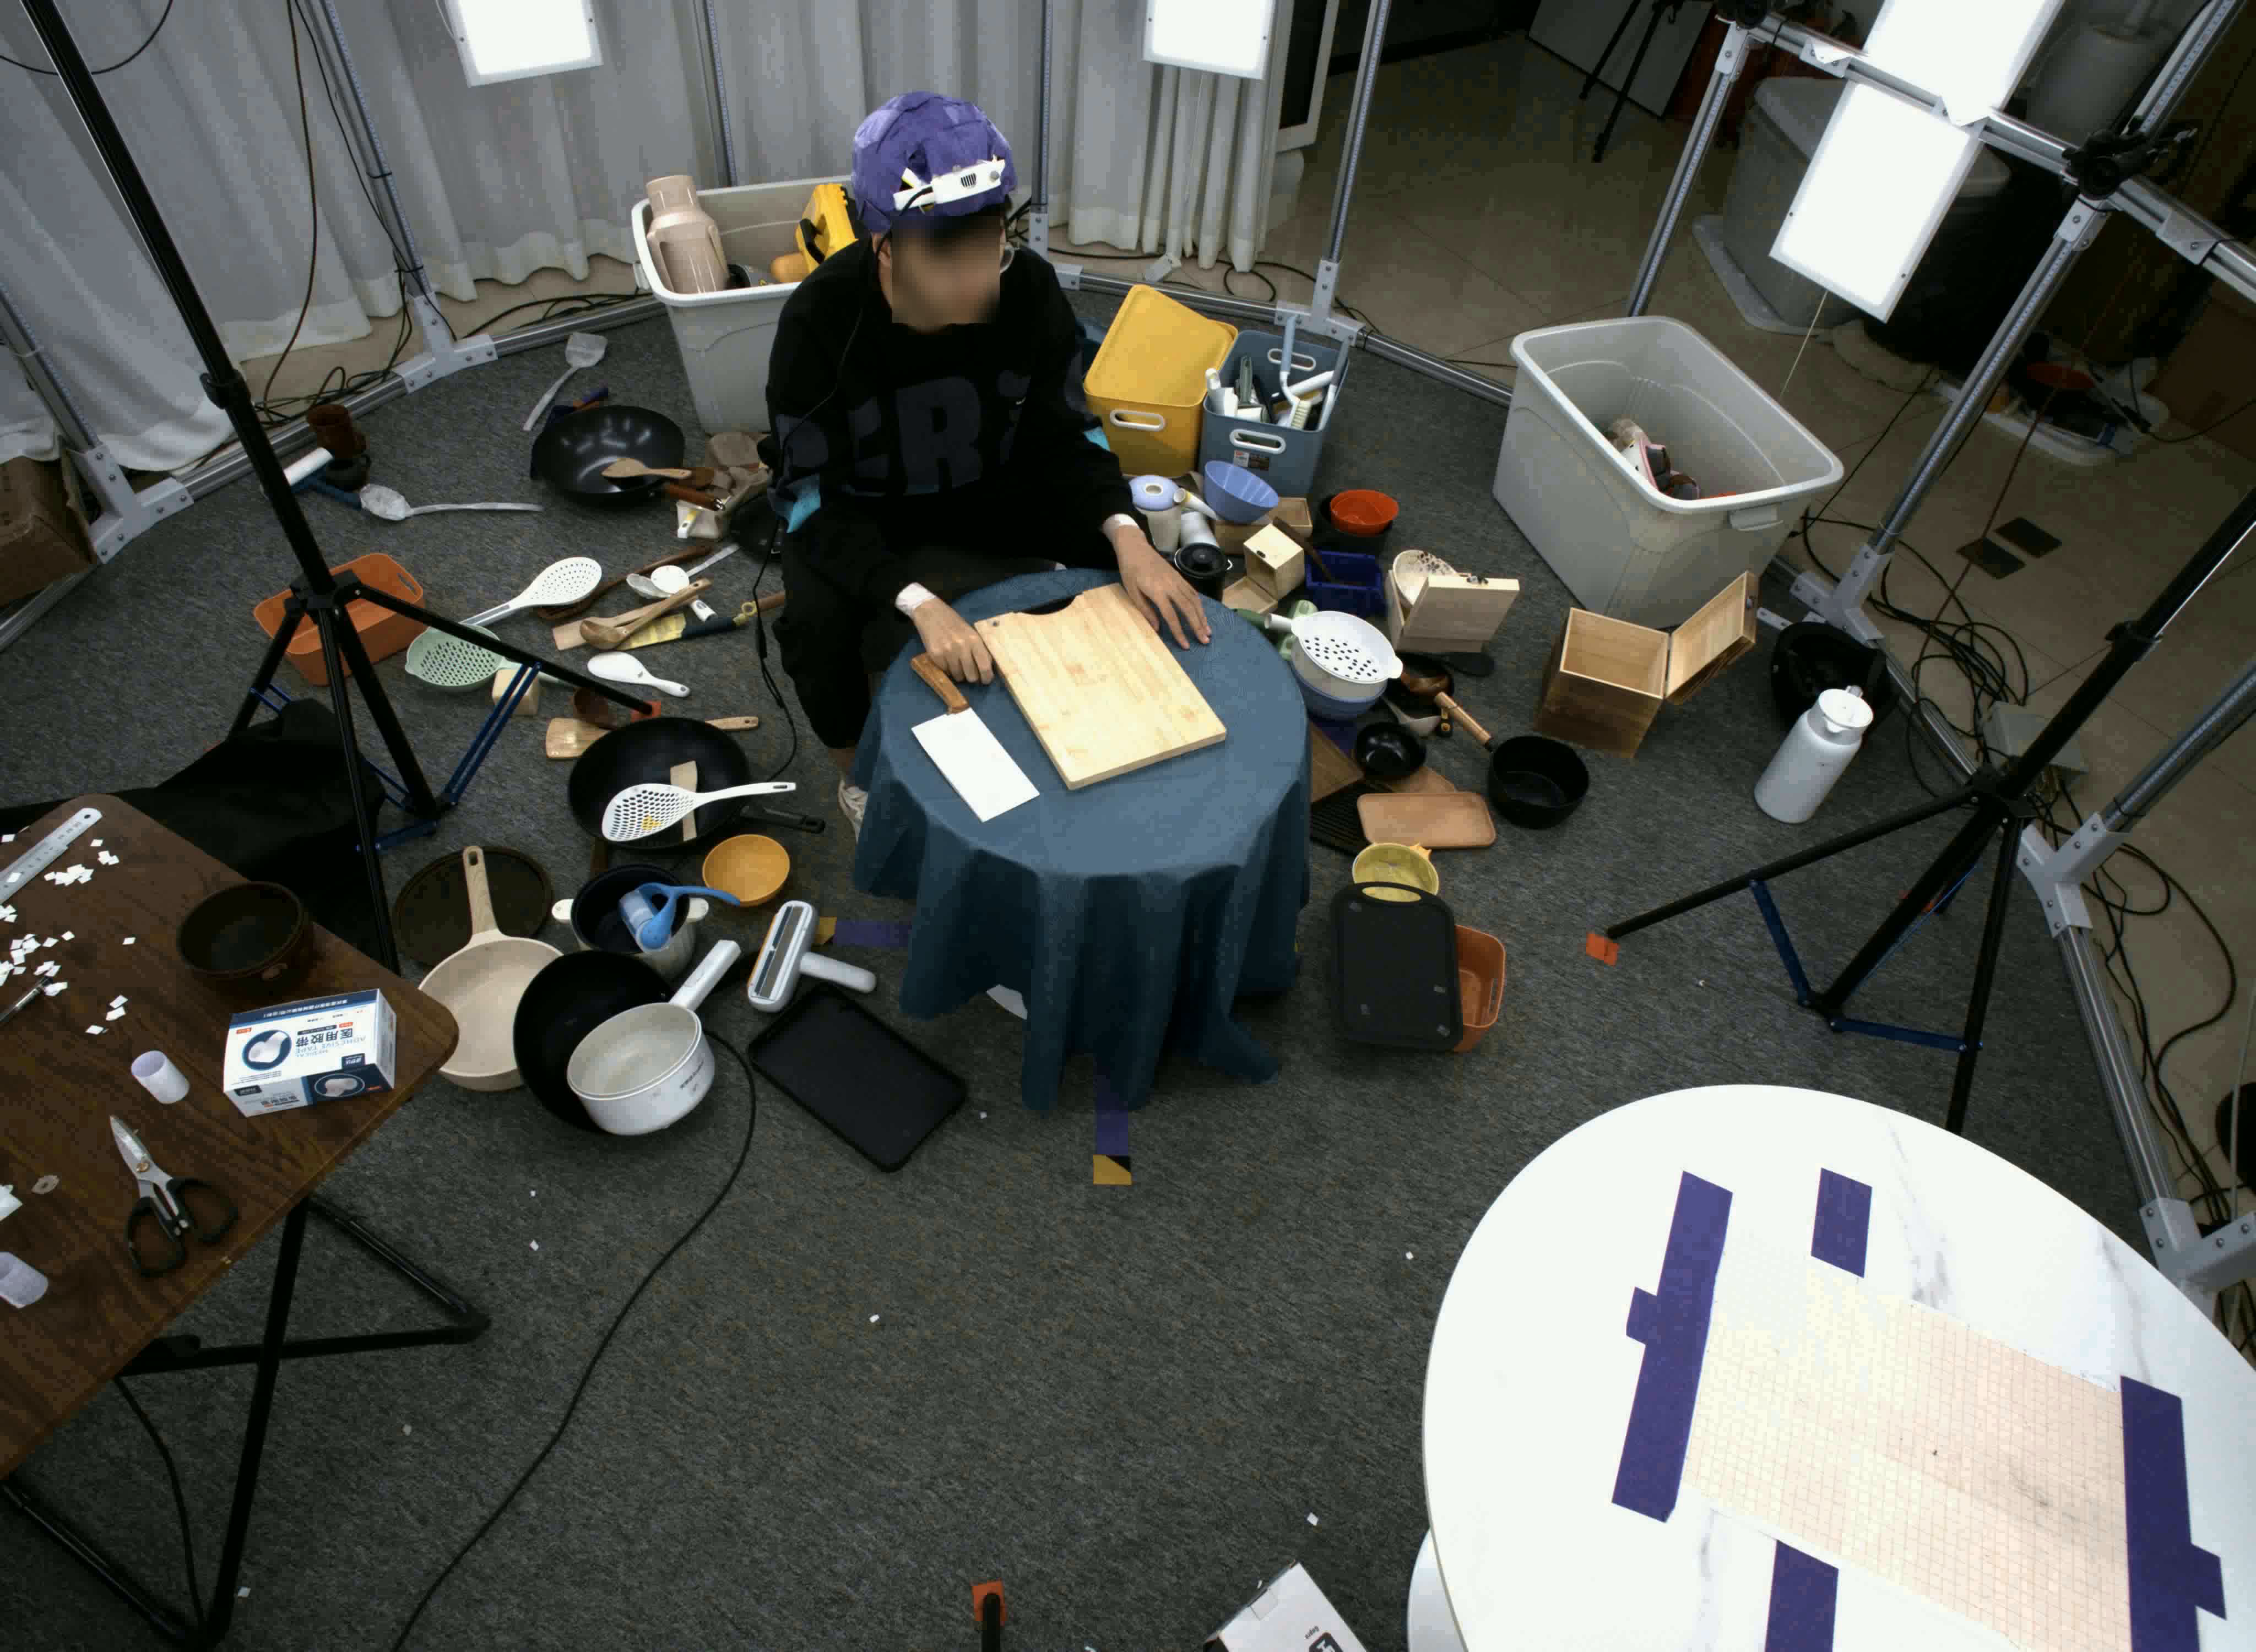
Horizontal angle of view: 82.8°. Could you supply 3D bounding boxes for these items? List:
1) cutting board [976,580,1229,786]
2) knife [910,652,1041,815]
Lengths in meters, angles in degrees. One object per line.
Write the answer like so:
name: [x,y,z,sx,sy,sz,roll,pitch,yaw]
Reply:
cutting board: [-0.042,-0.213,1.840,0.251,0.023,0.356,-19,53,-19]
knife: [-0.234,-0.127,1.754,0.093,0.020,0.311,-26,58,-22]
